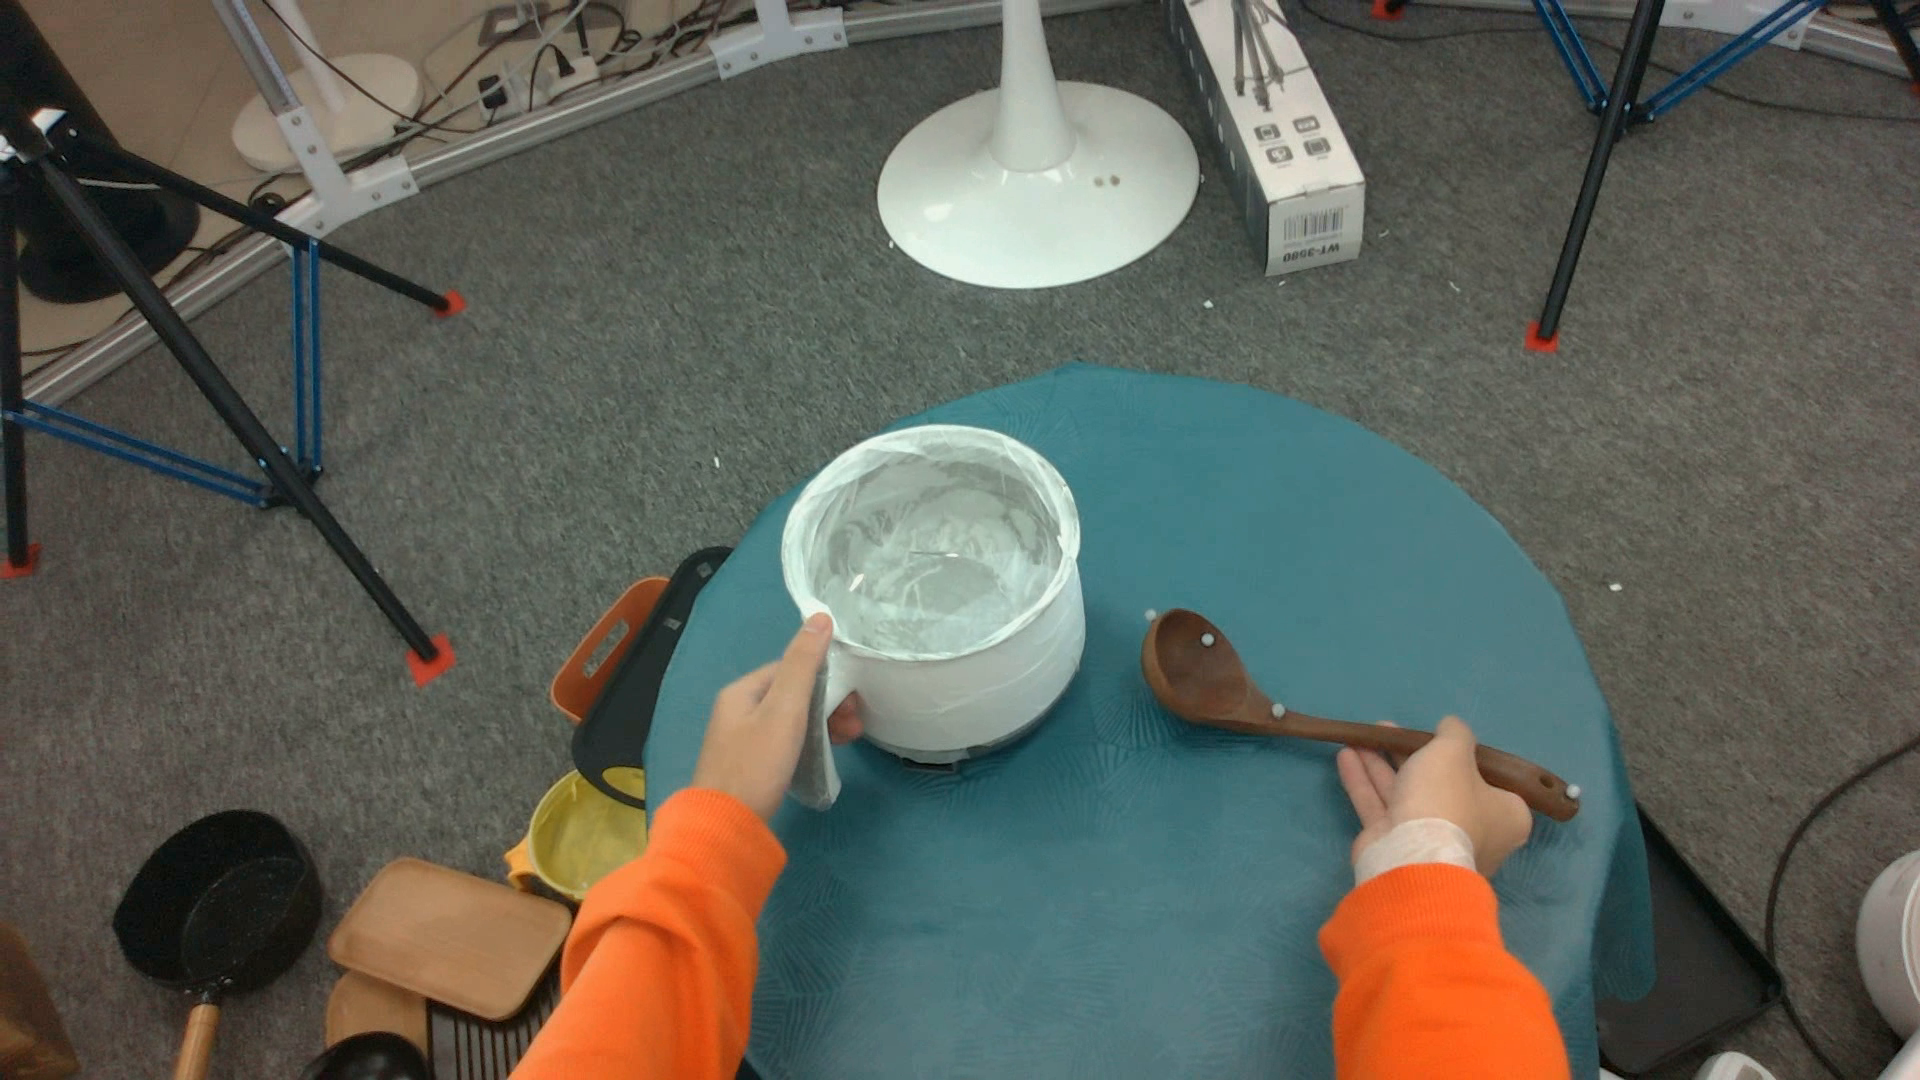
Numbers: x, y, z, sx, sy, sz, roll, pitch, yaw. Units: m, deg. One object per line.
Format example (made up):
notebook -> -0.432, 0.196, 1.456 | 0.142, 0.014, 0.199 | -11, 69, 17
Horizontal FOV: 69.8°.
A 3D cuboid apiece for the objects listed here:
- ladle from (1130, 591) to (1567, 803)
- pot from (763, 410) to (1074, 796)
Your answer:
ladle -> 0.225, 0.092, 0.812 | 0.260, 0.065, 0.077 | 14, 43, 24
pot -> -0.035, 0.046, 0.840 | 0.178, 0.136, 0.235 | 27, 59, 26
